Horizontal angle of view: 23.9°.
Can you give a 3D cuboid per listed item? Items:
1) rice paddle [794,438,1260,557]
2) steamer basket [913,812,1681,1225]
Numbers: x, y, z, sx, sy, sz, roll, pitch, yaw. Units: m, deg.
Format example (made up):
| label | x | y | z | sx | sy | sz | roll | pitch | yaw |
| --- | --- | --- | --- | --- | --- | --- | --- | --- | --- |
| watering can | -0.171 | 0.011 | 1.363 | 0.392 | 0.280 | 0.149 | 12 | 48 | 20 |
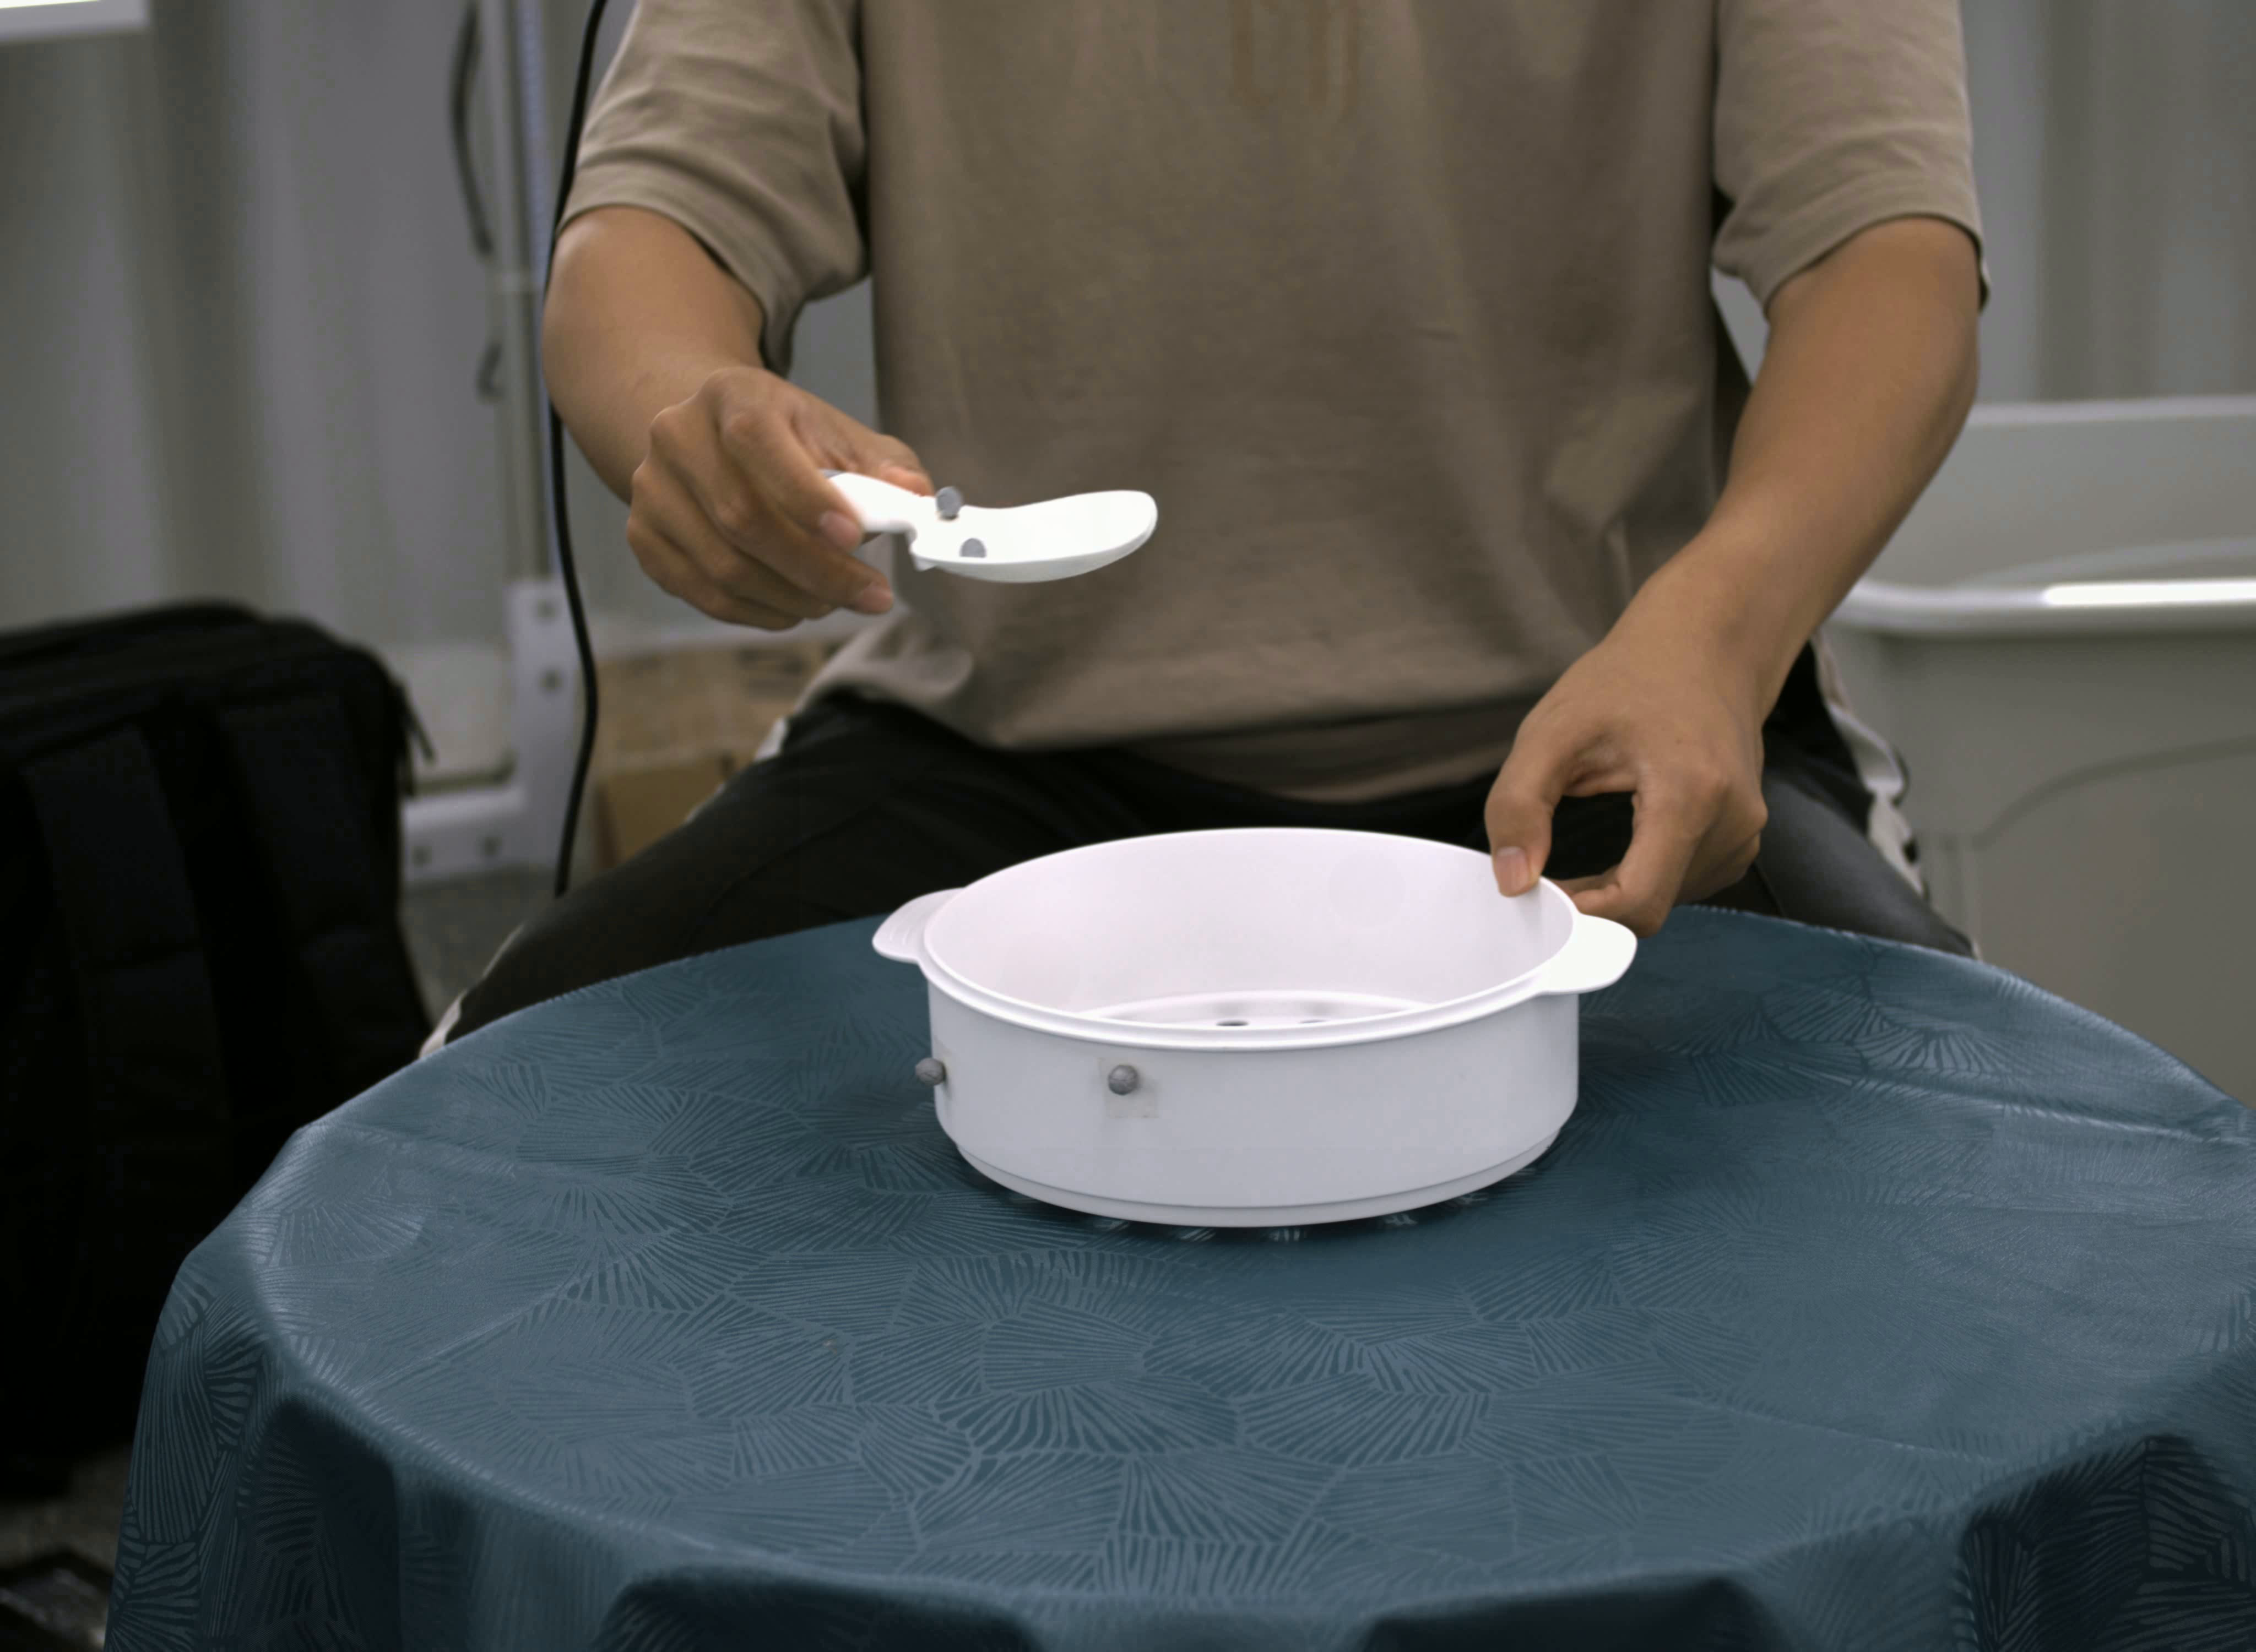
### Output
| label | x | y | z | sx | sy | sz | roll | pitch | yaw |
| --- | --- | --- | --- | --- | --- | --- | --- | --- | --- |
| rice paddle | -0.033 | -0.097 | 1.559 | 0.067 | 0.029 | 0.209 | -23 | 16 | -30 |
| steamer basket | 0.050 | 0.058 | 1.591 | 0.232 | 0.069 | 0.200 | 4 | 18 | 15 |
